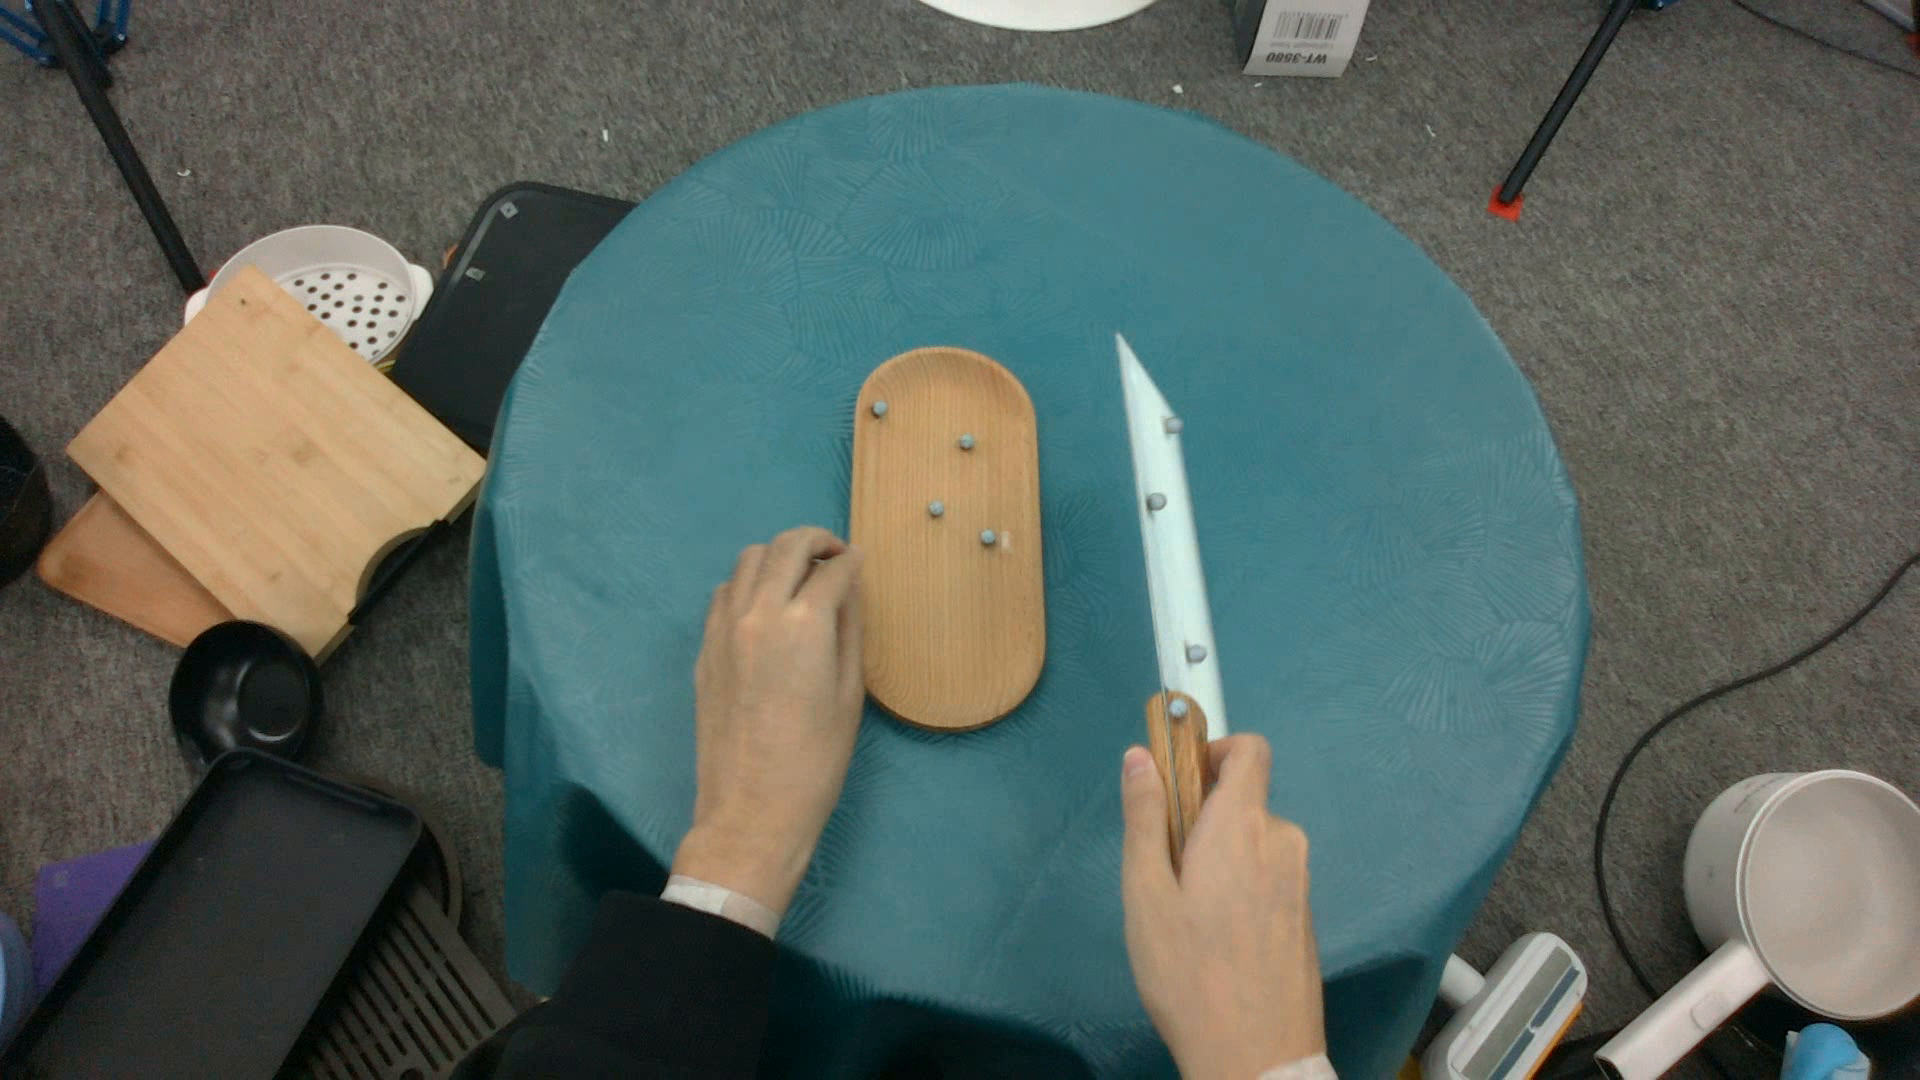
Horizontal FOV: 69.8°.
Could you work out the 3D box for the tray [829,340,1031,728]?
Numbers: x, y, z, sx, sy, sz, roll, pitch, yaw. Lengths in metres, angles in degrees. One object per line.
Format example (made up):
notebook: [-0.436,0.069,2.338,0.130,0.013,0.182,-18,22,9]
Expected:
tray: [-0.016,-0.010,0.722,0.102,0.020,0.232,2,60,-6]

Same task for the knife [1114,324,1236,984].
knife: [0.100,0.045,0.621,0.021,0.093,0.307,-15,60,23]
